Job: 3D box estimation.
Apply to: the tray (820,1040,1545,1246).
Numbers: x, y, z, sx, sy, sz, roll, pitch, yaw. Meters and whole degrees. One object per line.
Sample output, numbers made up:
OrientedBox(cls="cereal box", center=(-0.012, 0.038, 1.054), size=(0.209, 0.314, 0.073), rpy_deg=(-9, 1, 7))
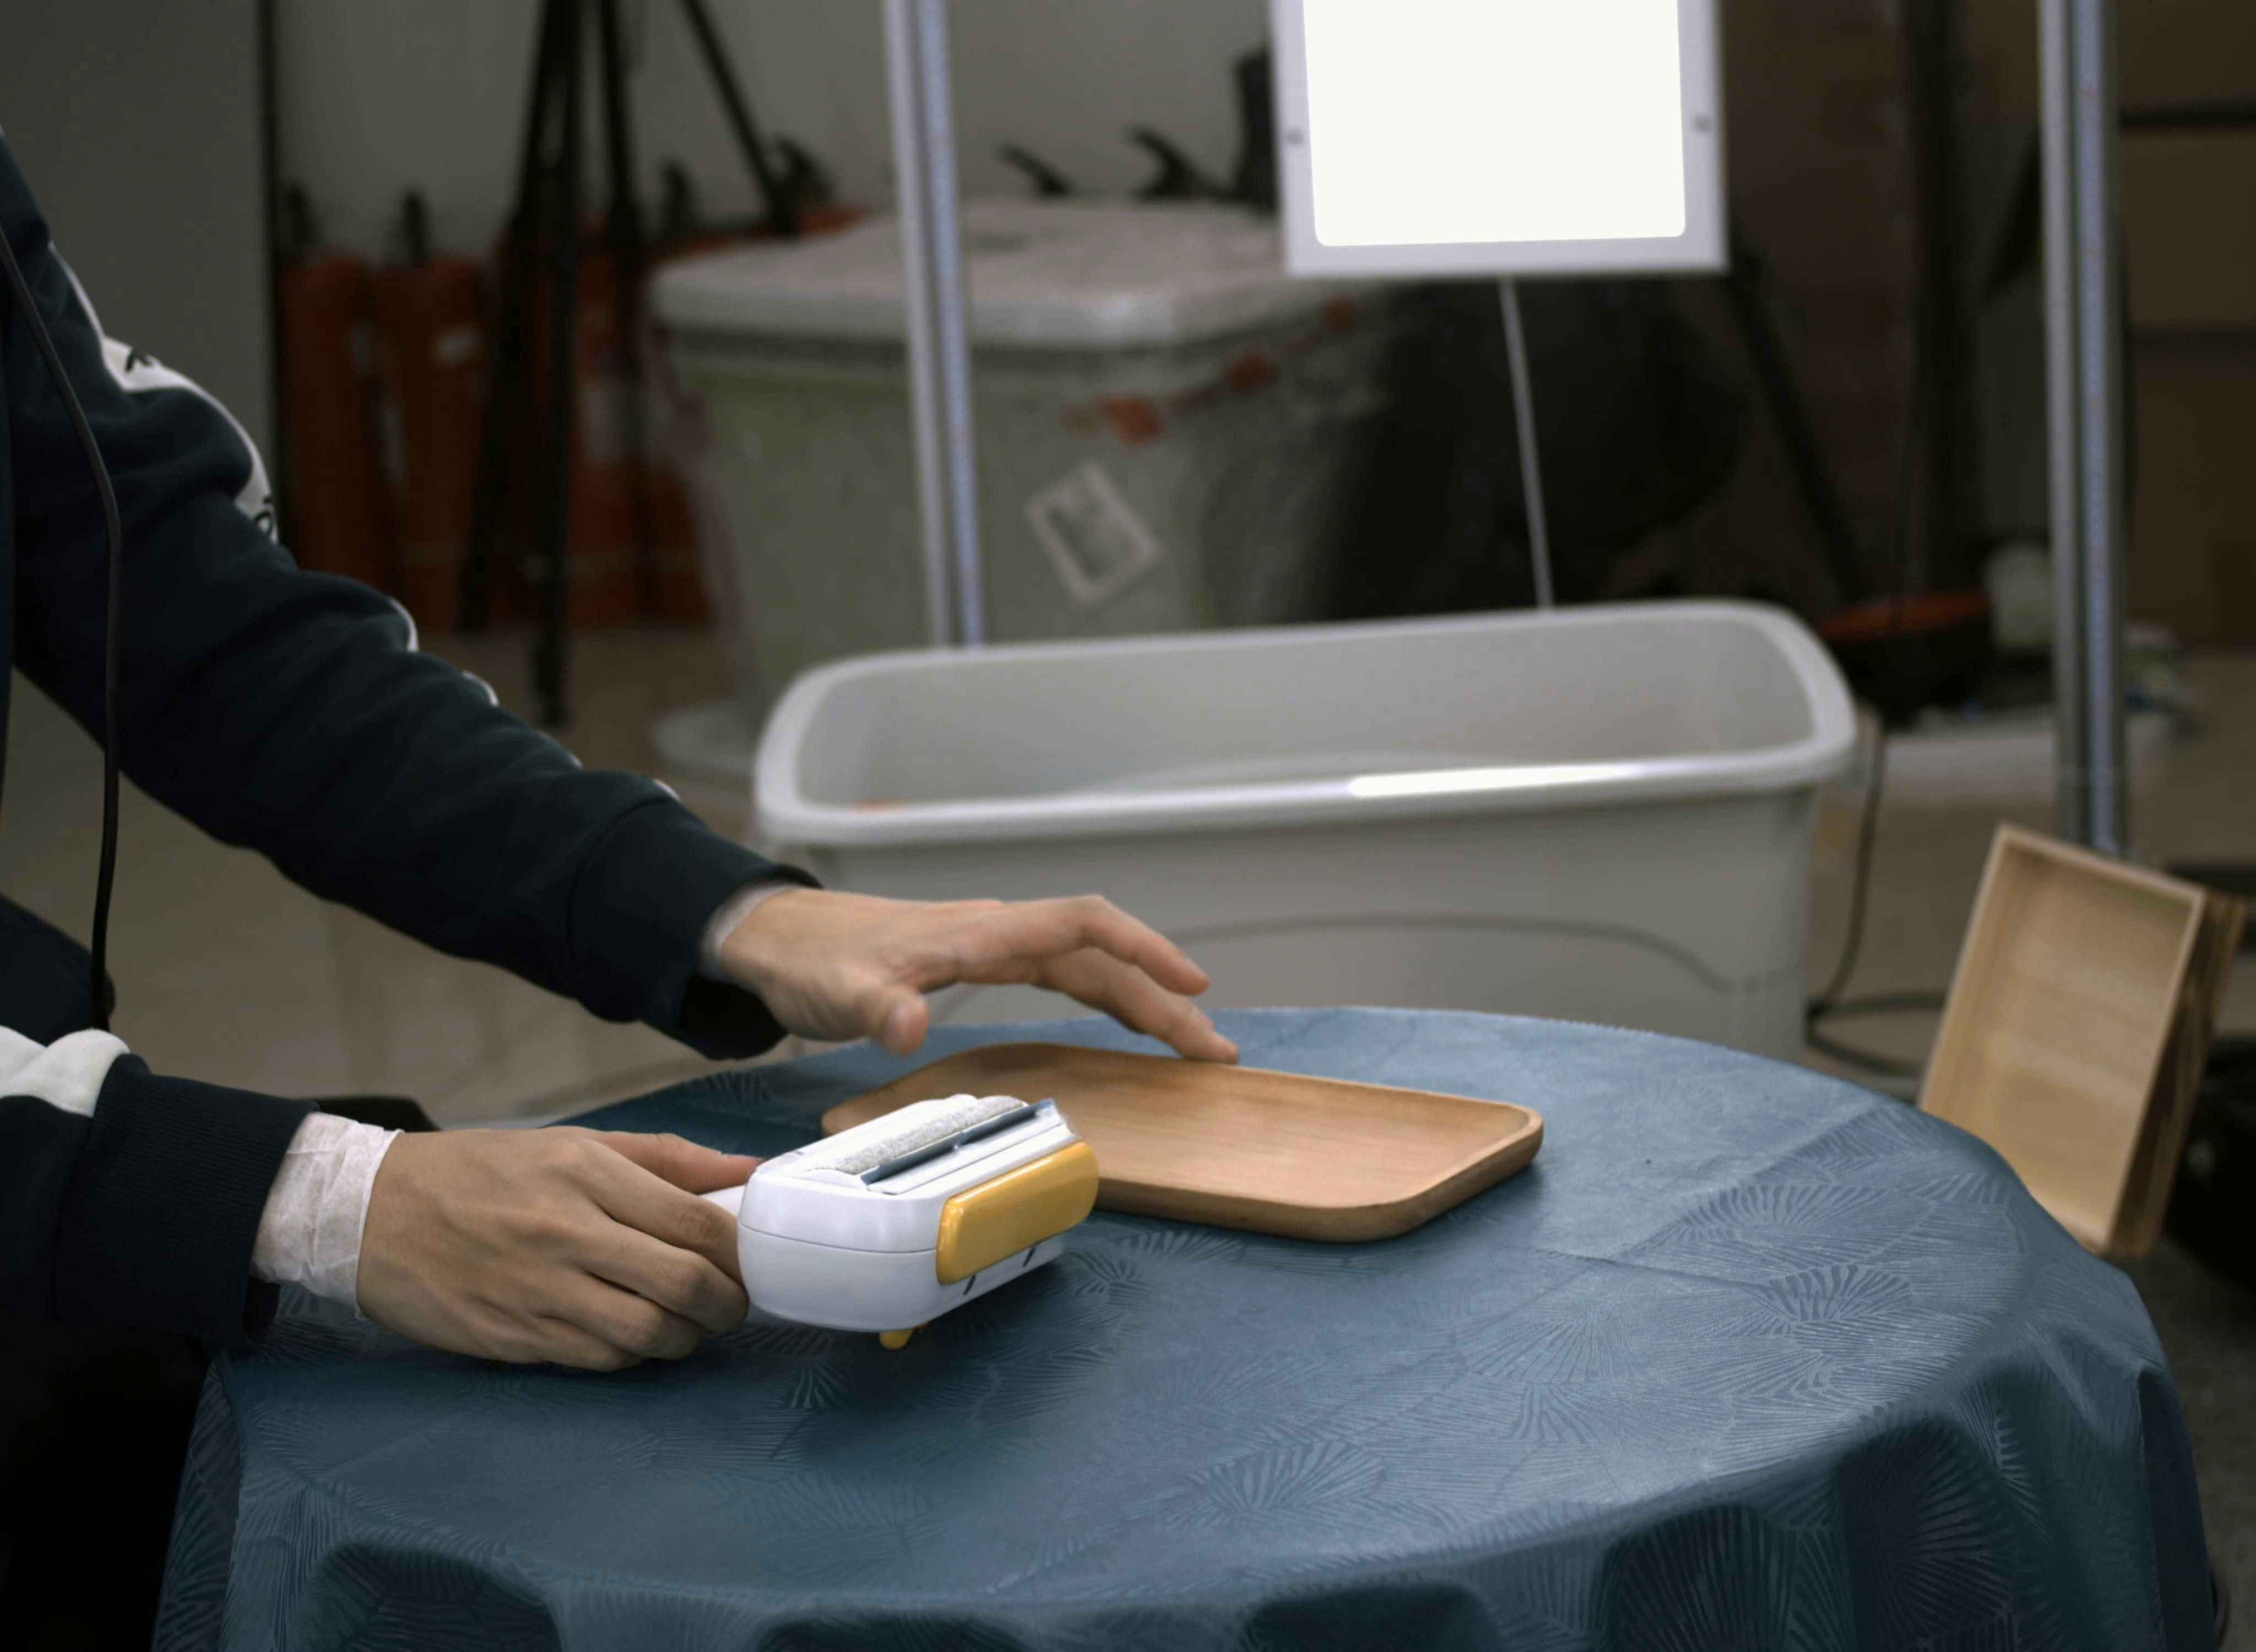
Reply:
OrientedBox(cls="tray", center=(0.018, 0.109, 1.925), size=(0.256, 0.023, 0.127), rpy_deg=(5, 15, 38))

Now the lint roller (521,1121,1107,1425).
OrientedBox(cls="lint roller", center=(-0.118, 0.149, 1.782), size=(0.196, 0.074, 0.189), rpy_deg=(-14, 2, 26))
